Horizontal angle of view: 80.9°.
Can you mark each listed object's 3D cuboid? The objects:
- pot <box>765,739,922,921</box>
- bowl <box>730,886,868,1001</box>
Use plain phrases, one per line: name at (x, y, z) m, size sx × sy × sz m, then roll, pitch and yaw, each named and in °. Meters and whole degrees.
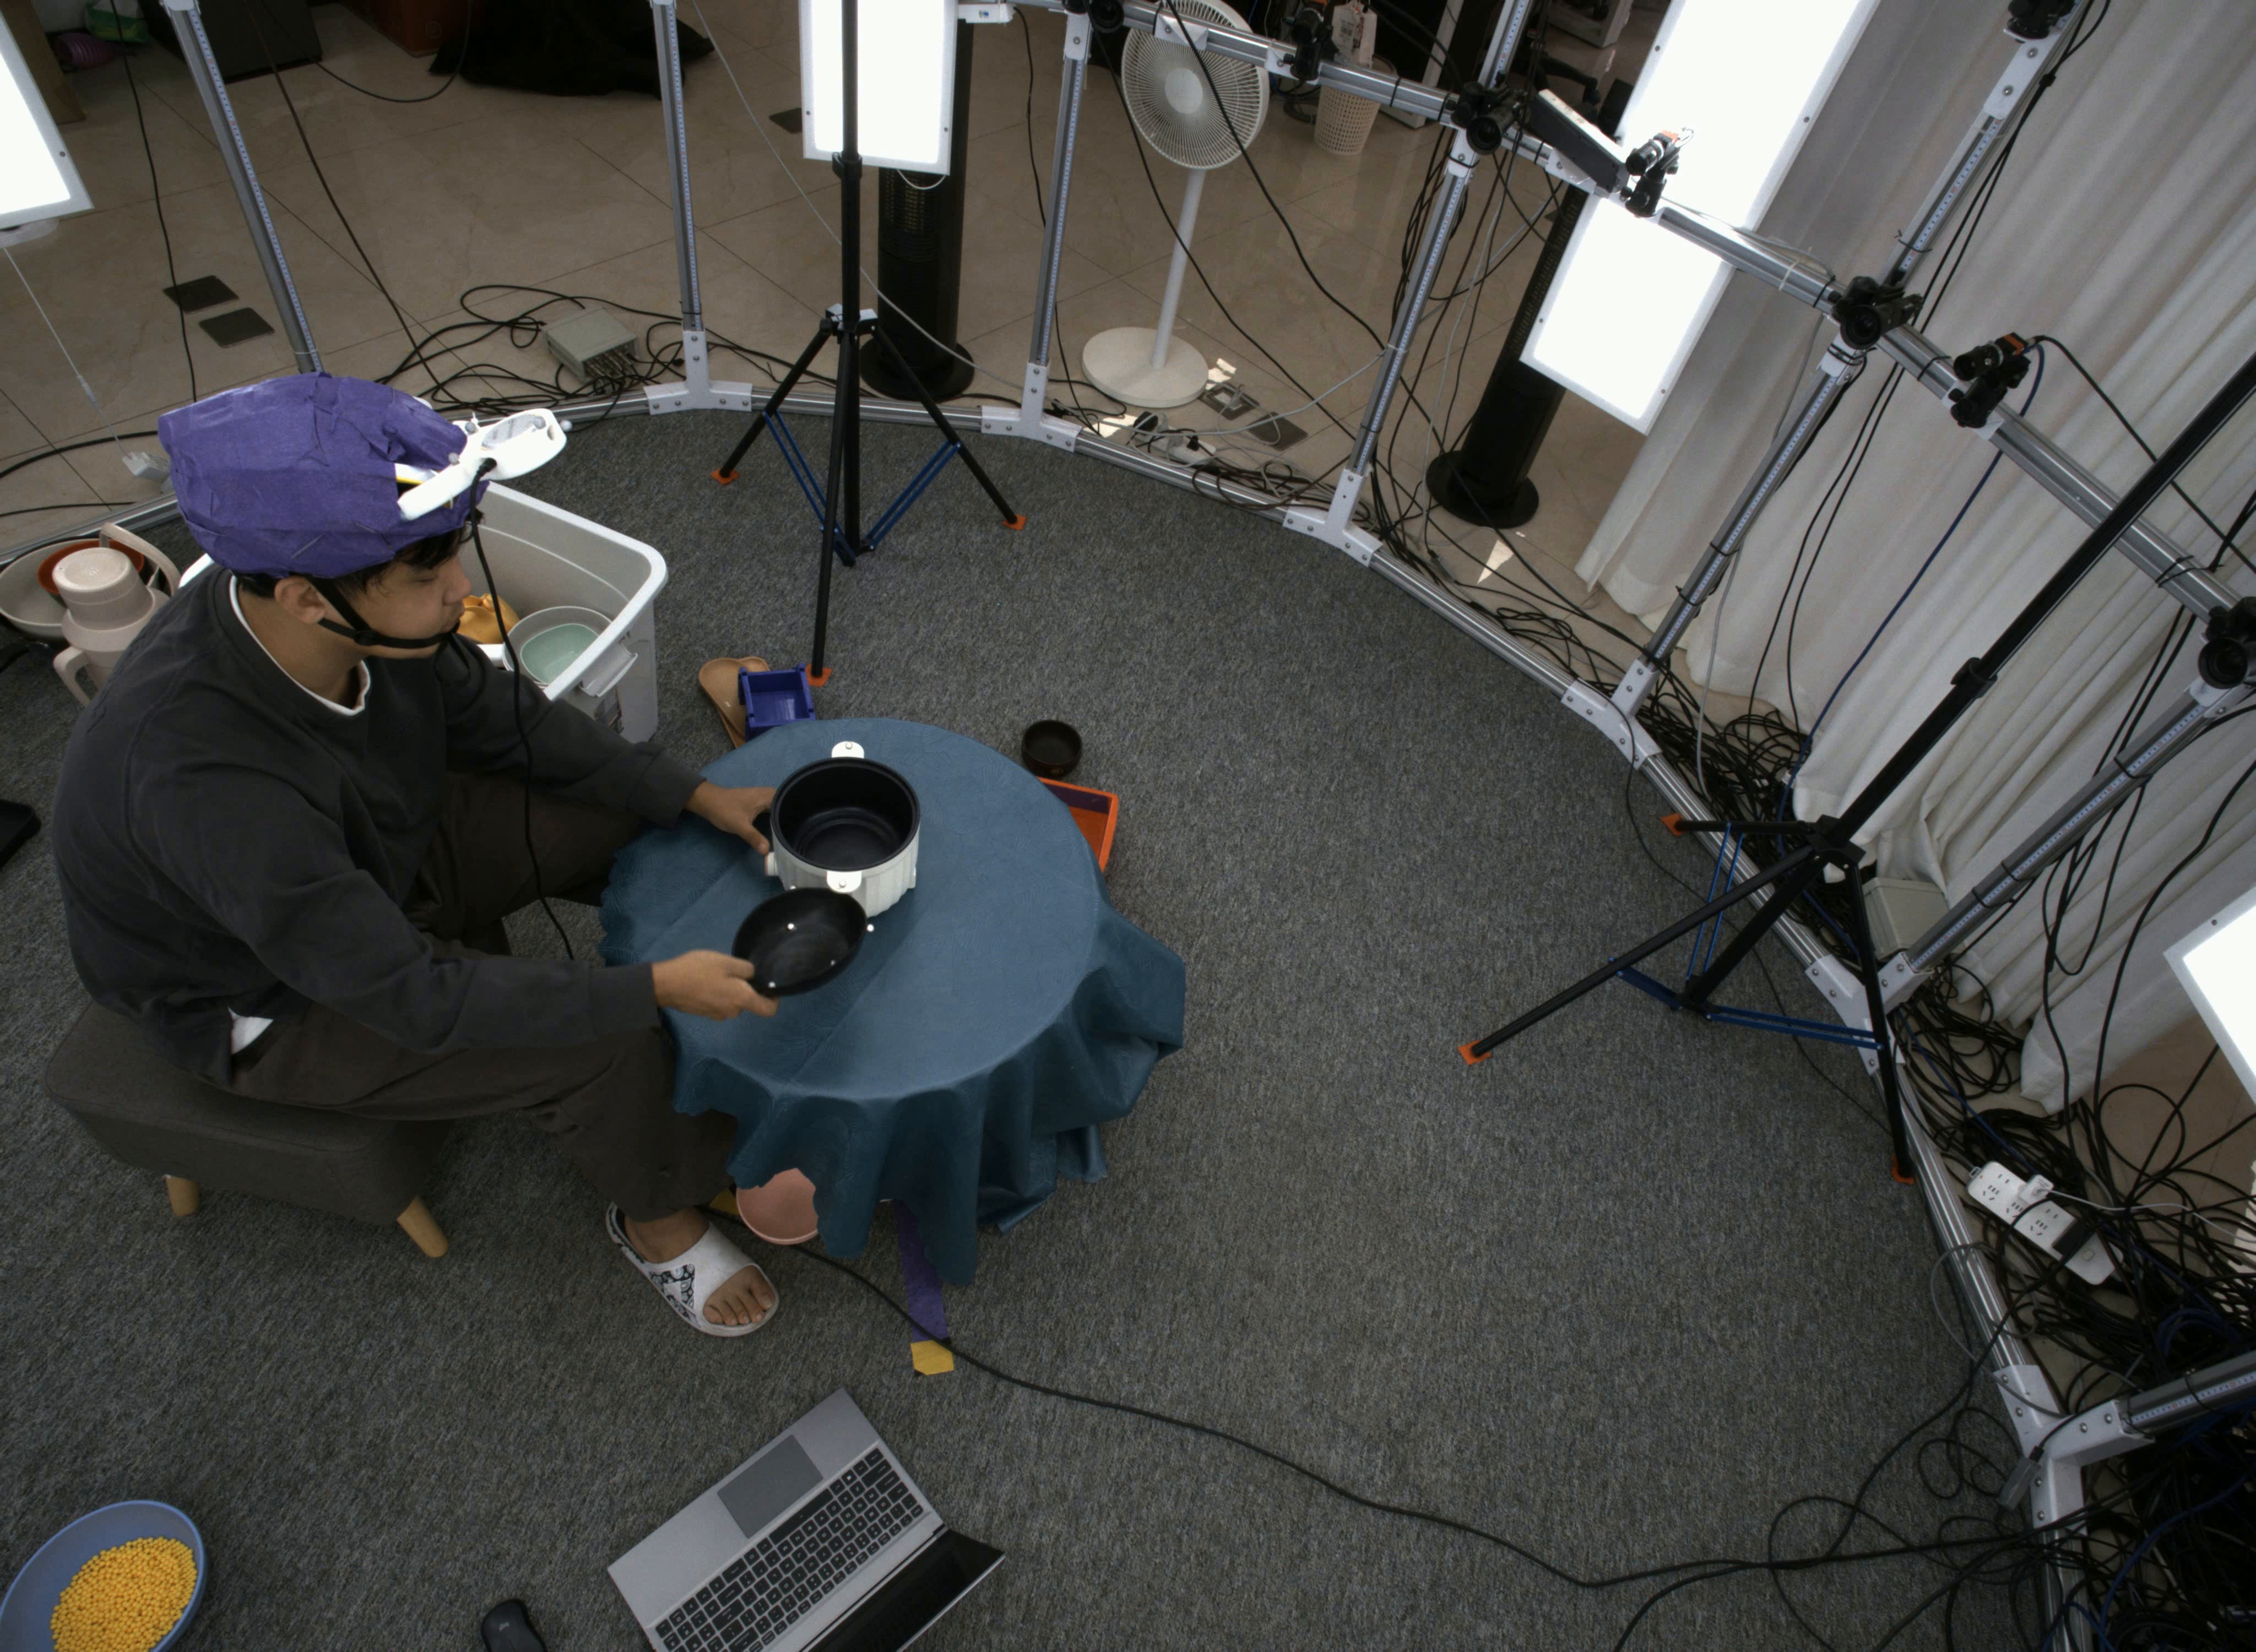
pot at (-0.358, 0.024, 1.628) m, size 0.191 × 0.145 × 0.235 m, roll 2°, pitch 50°, yaw -15°
bowl at (-0.371, 0.143, 1.479) m, size 0.133 × 0.069 × 0.170 m, roll 25°, pitch 46°, yaw 19°
